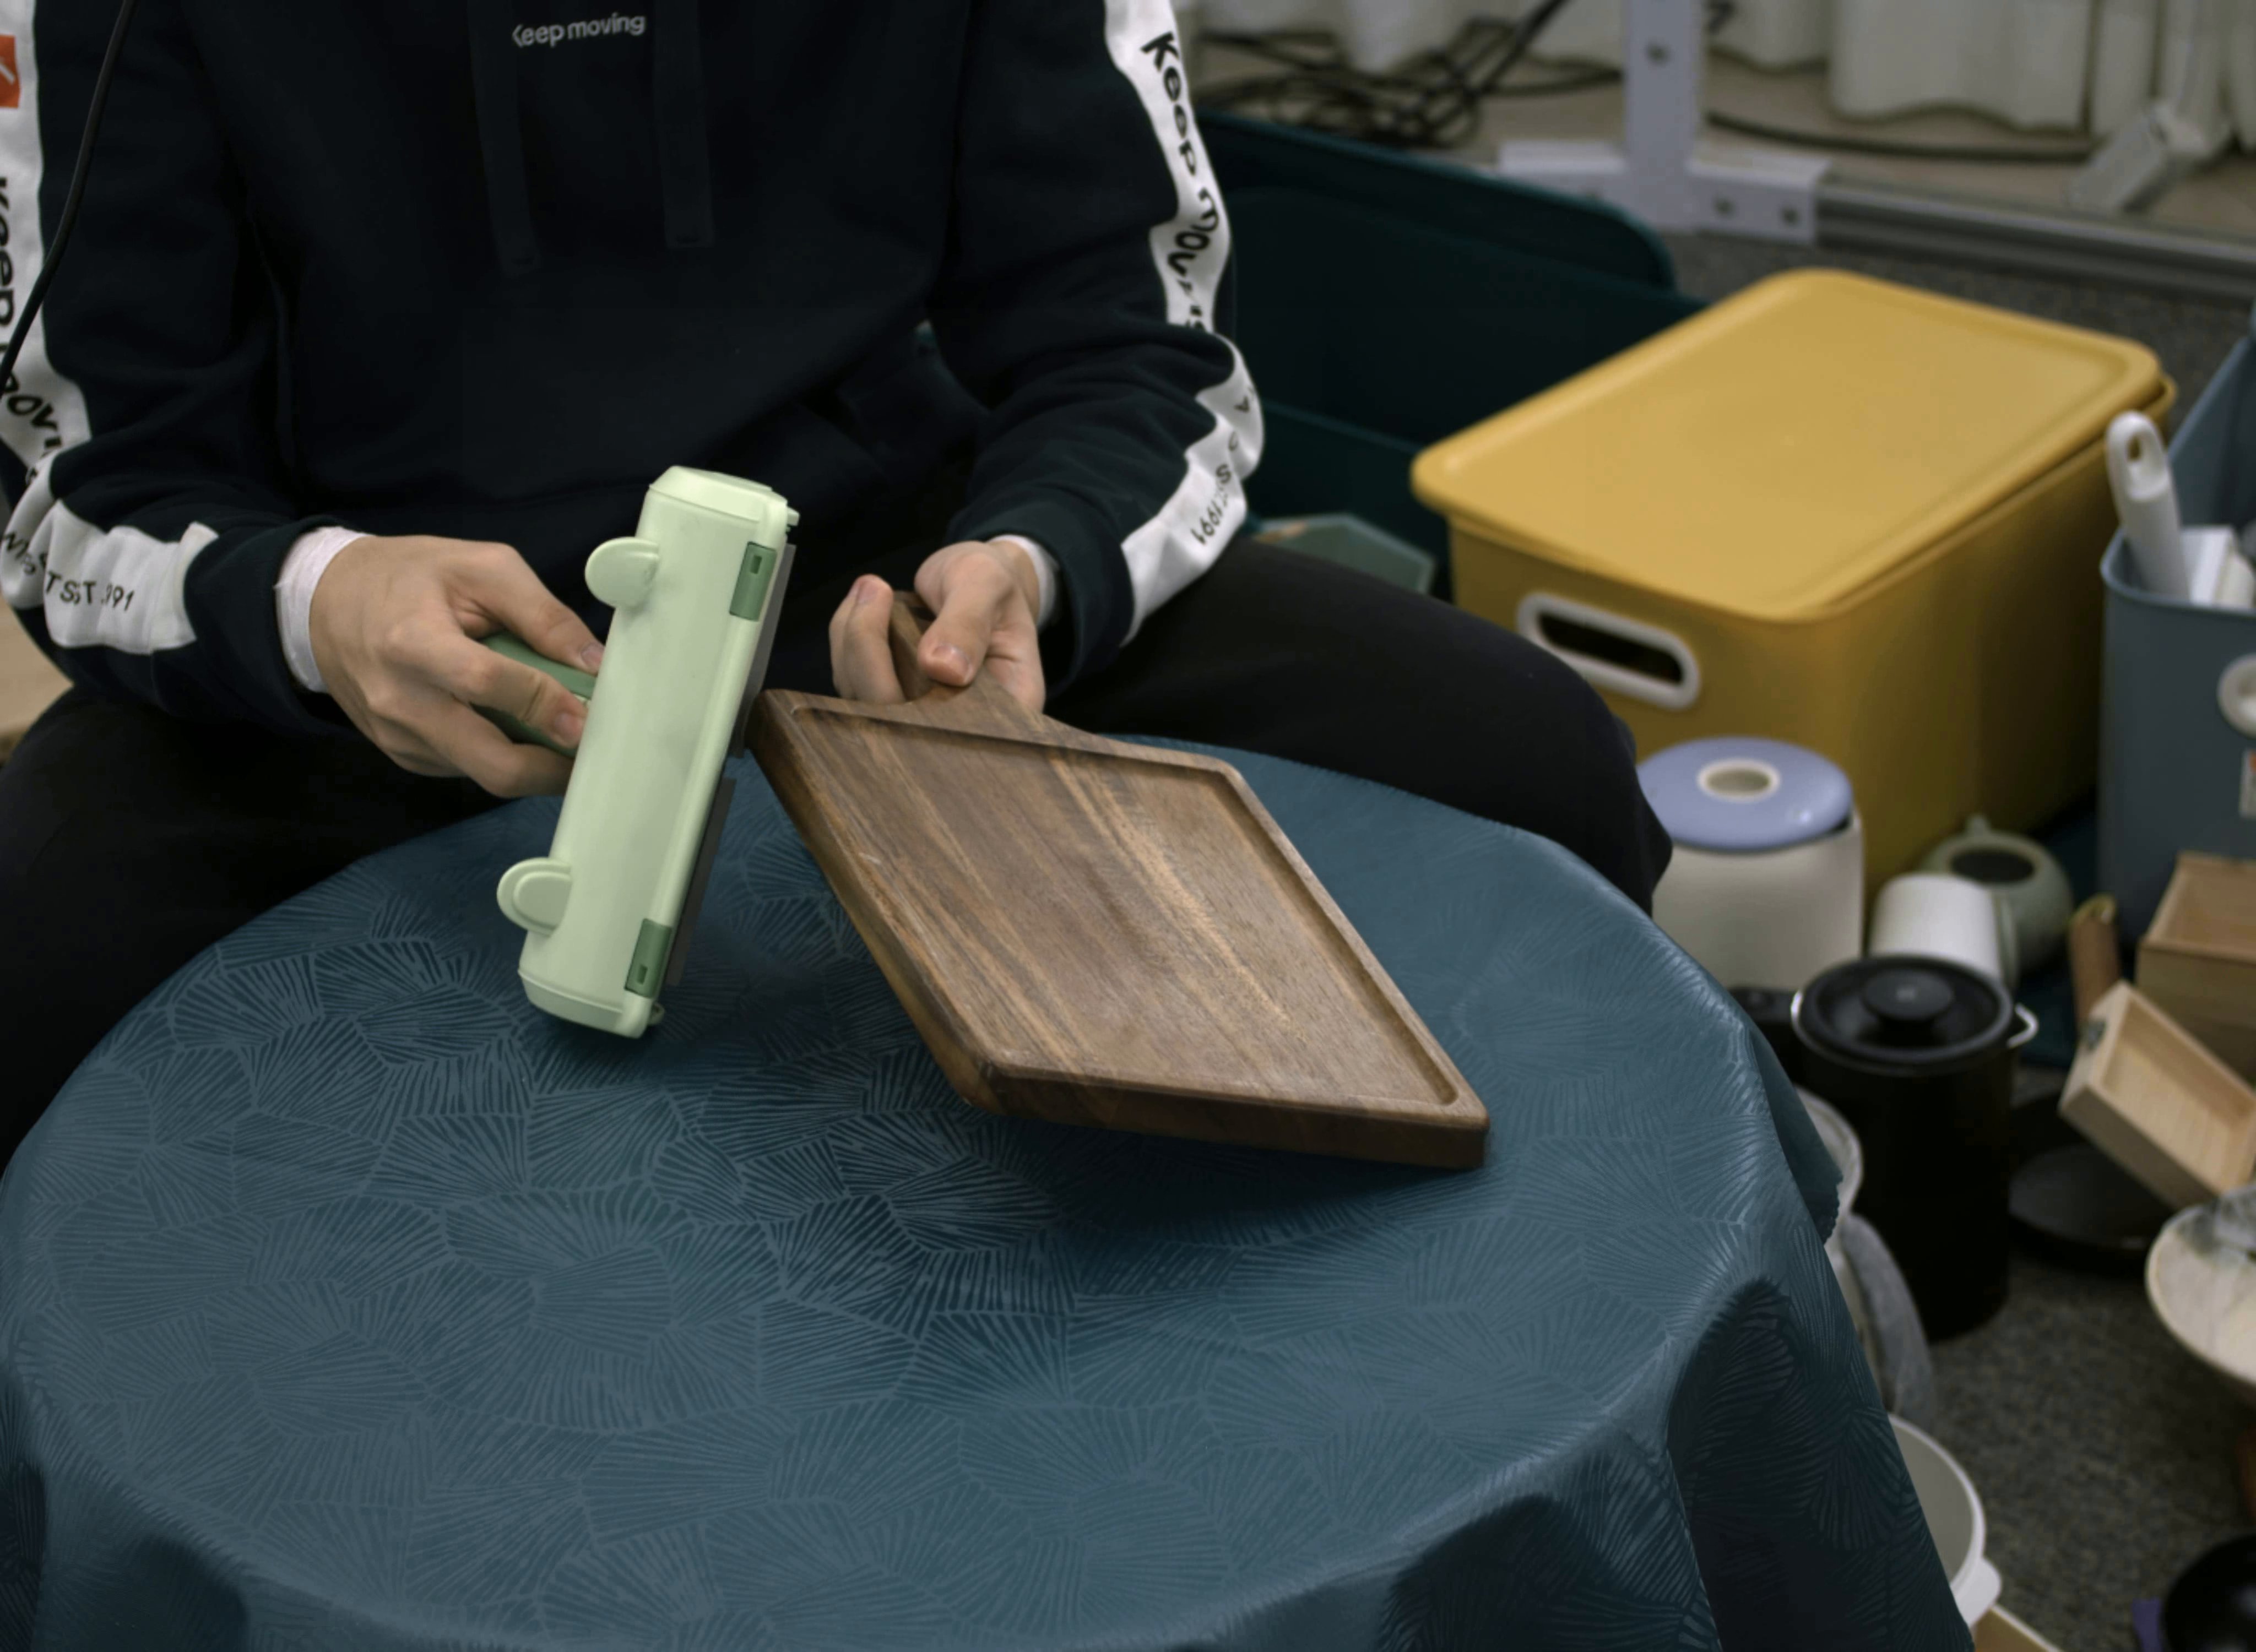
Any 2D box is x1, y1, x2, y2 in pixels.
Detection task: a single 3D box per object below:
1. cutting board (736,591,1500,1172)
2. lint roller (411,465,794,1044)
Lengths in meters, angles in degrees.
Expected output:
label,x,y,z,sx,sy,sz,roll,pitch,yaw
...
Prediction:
label,x,y,z,sx,sy,sz,roll,pitch,yaw
cutting board,-0.024,0.009,1.952,0.201,0.023,0.356,9,26,-29
lint roller,-0.209,-0.041,1.982,0.183,0.199,0.082,19,5,37
